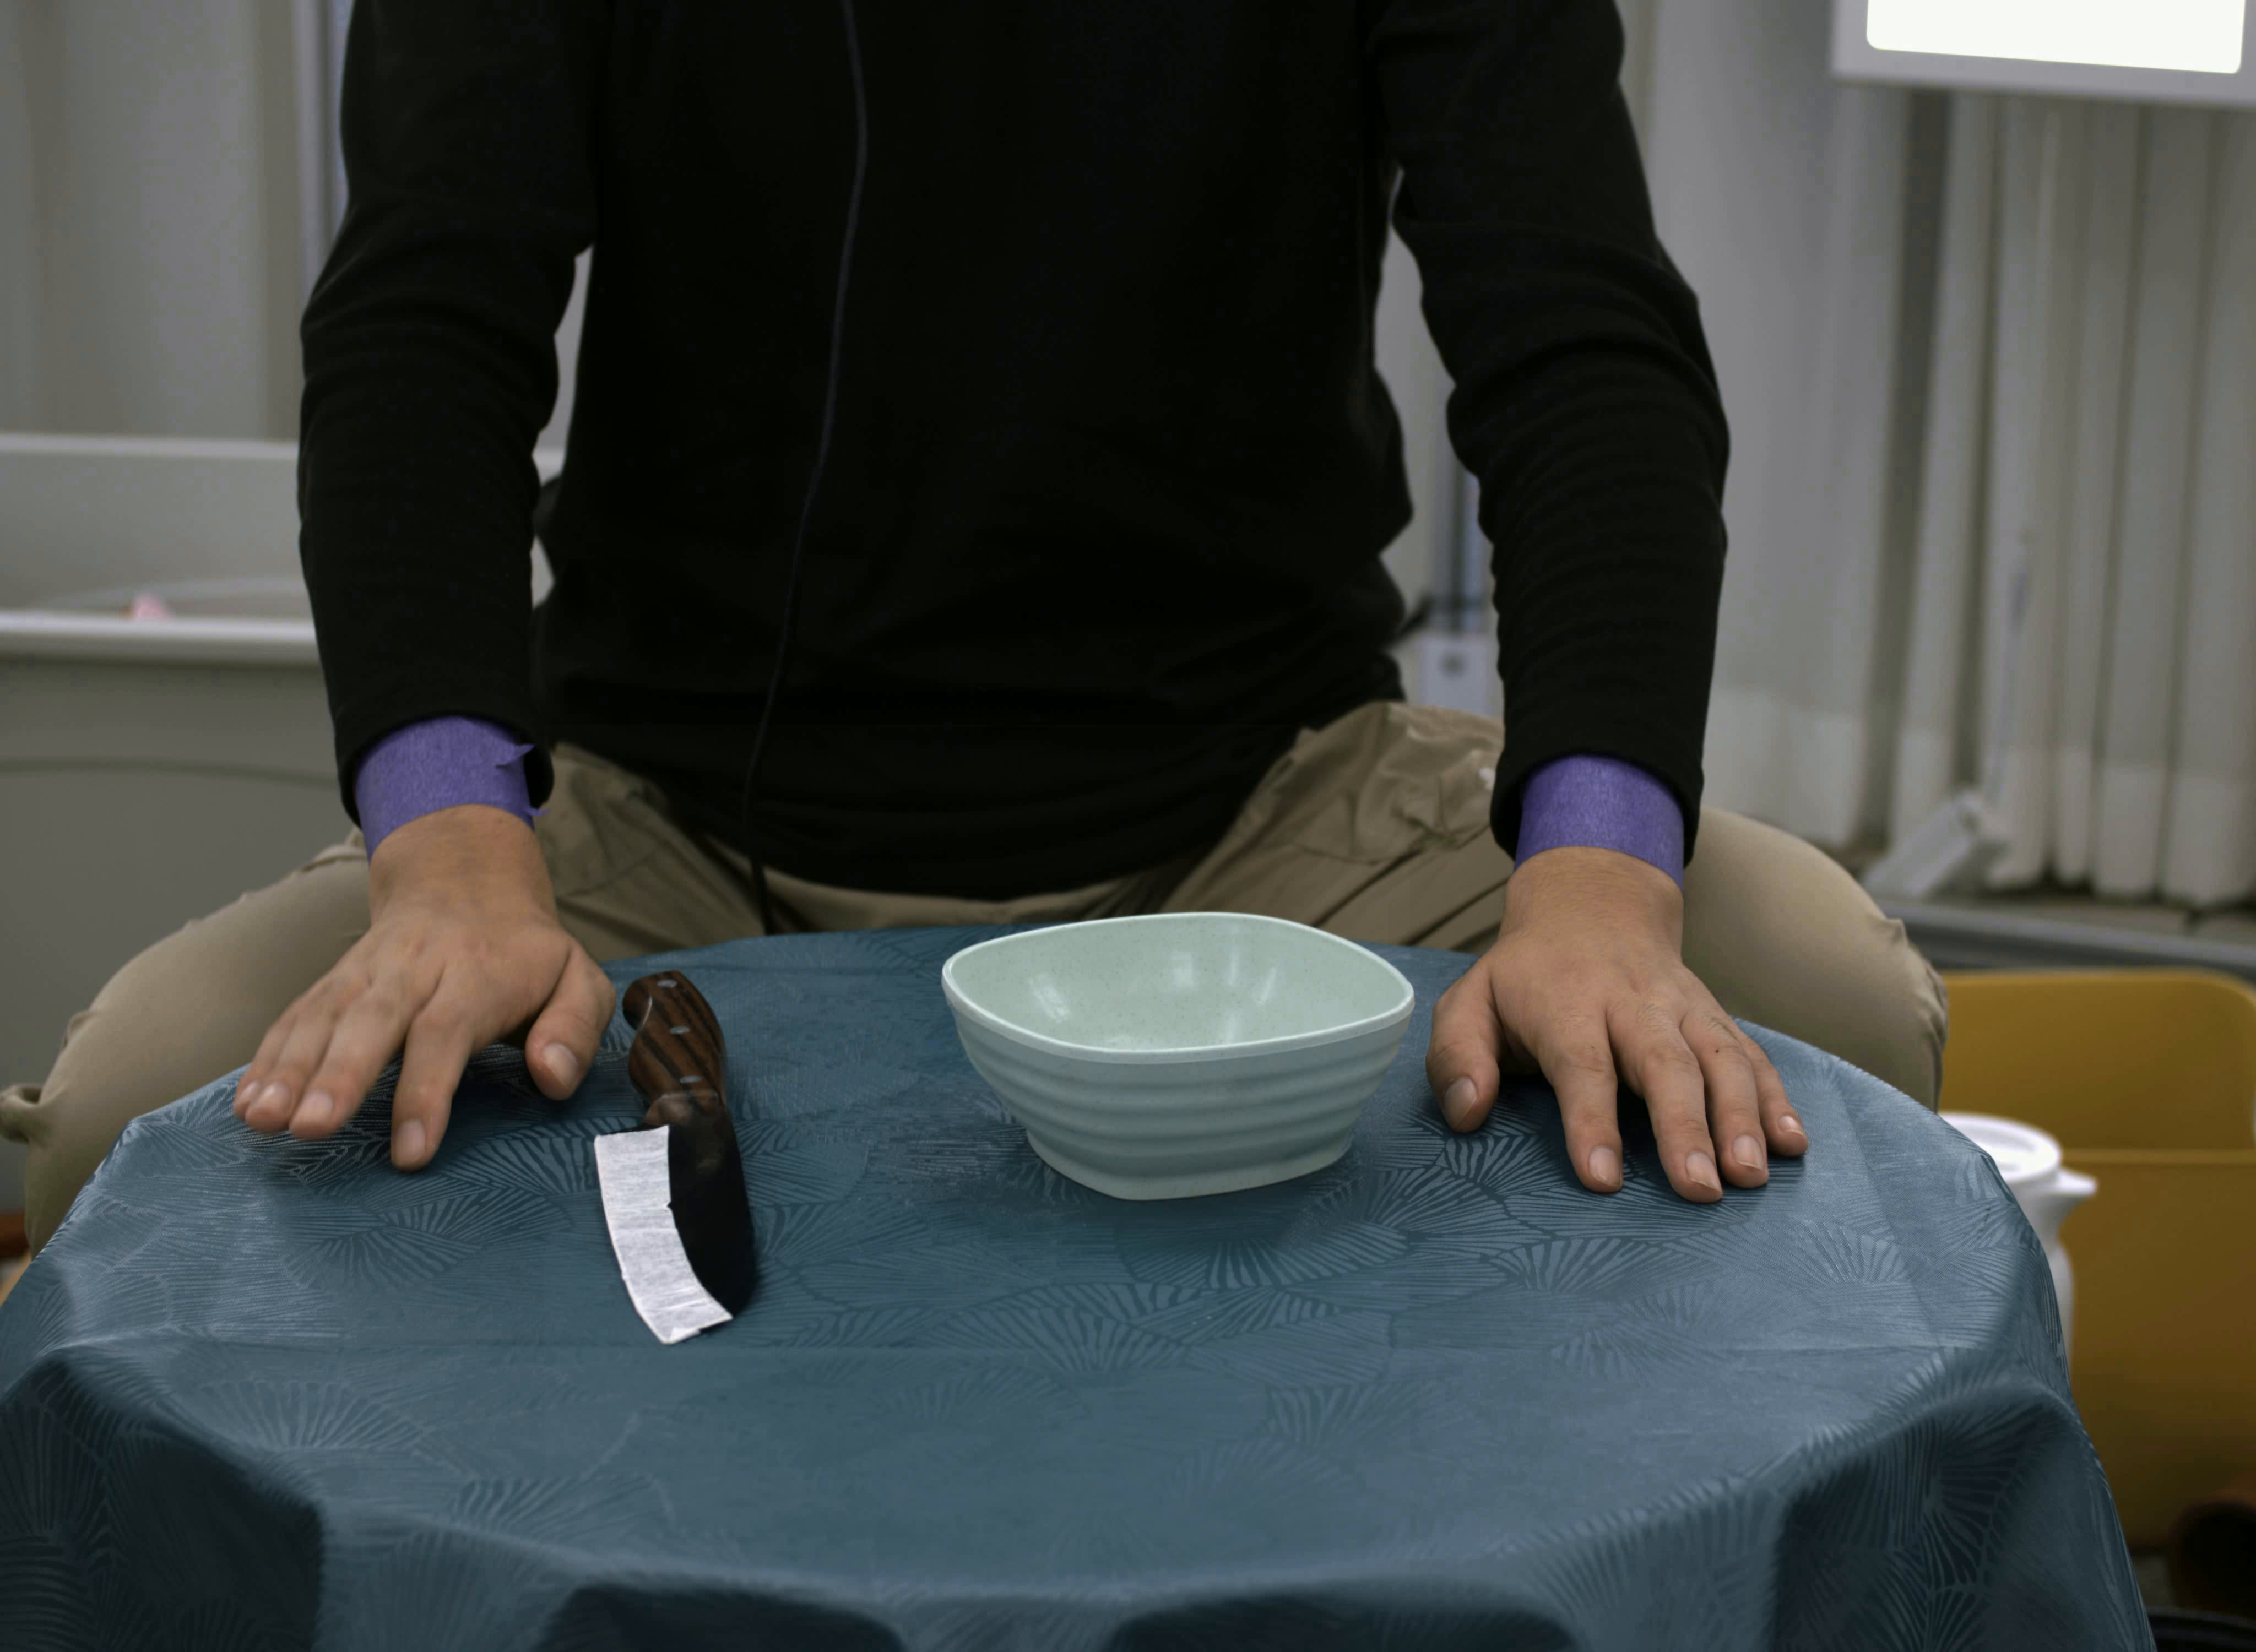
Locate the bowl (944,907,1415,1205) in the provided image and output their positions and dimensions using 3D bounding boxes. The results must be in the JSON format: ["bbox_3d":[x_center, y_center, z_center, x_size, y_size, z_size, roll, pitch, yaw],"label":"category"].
[{"bbox_3d":[0.015,0.075,1.652,0.151,0.059,0.150,1,17,0],"label":"bowl"}]

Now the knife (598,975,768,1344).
[{"bbox_3d":[-0.139,0.102,1.628,0.050,0.020,0.287,-6,19,-4],"label":"knife"}]
